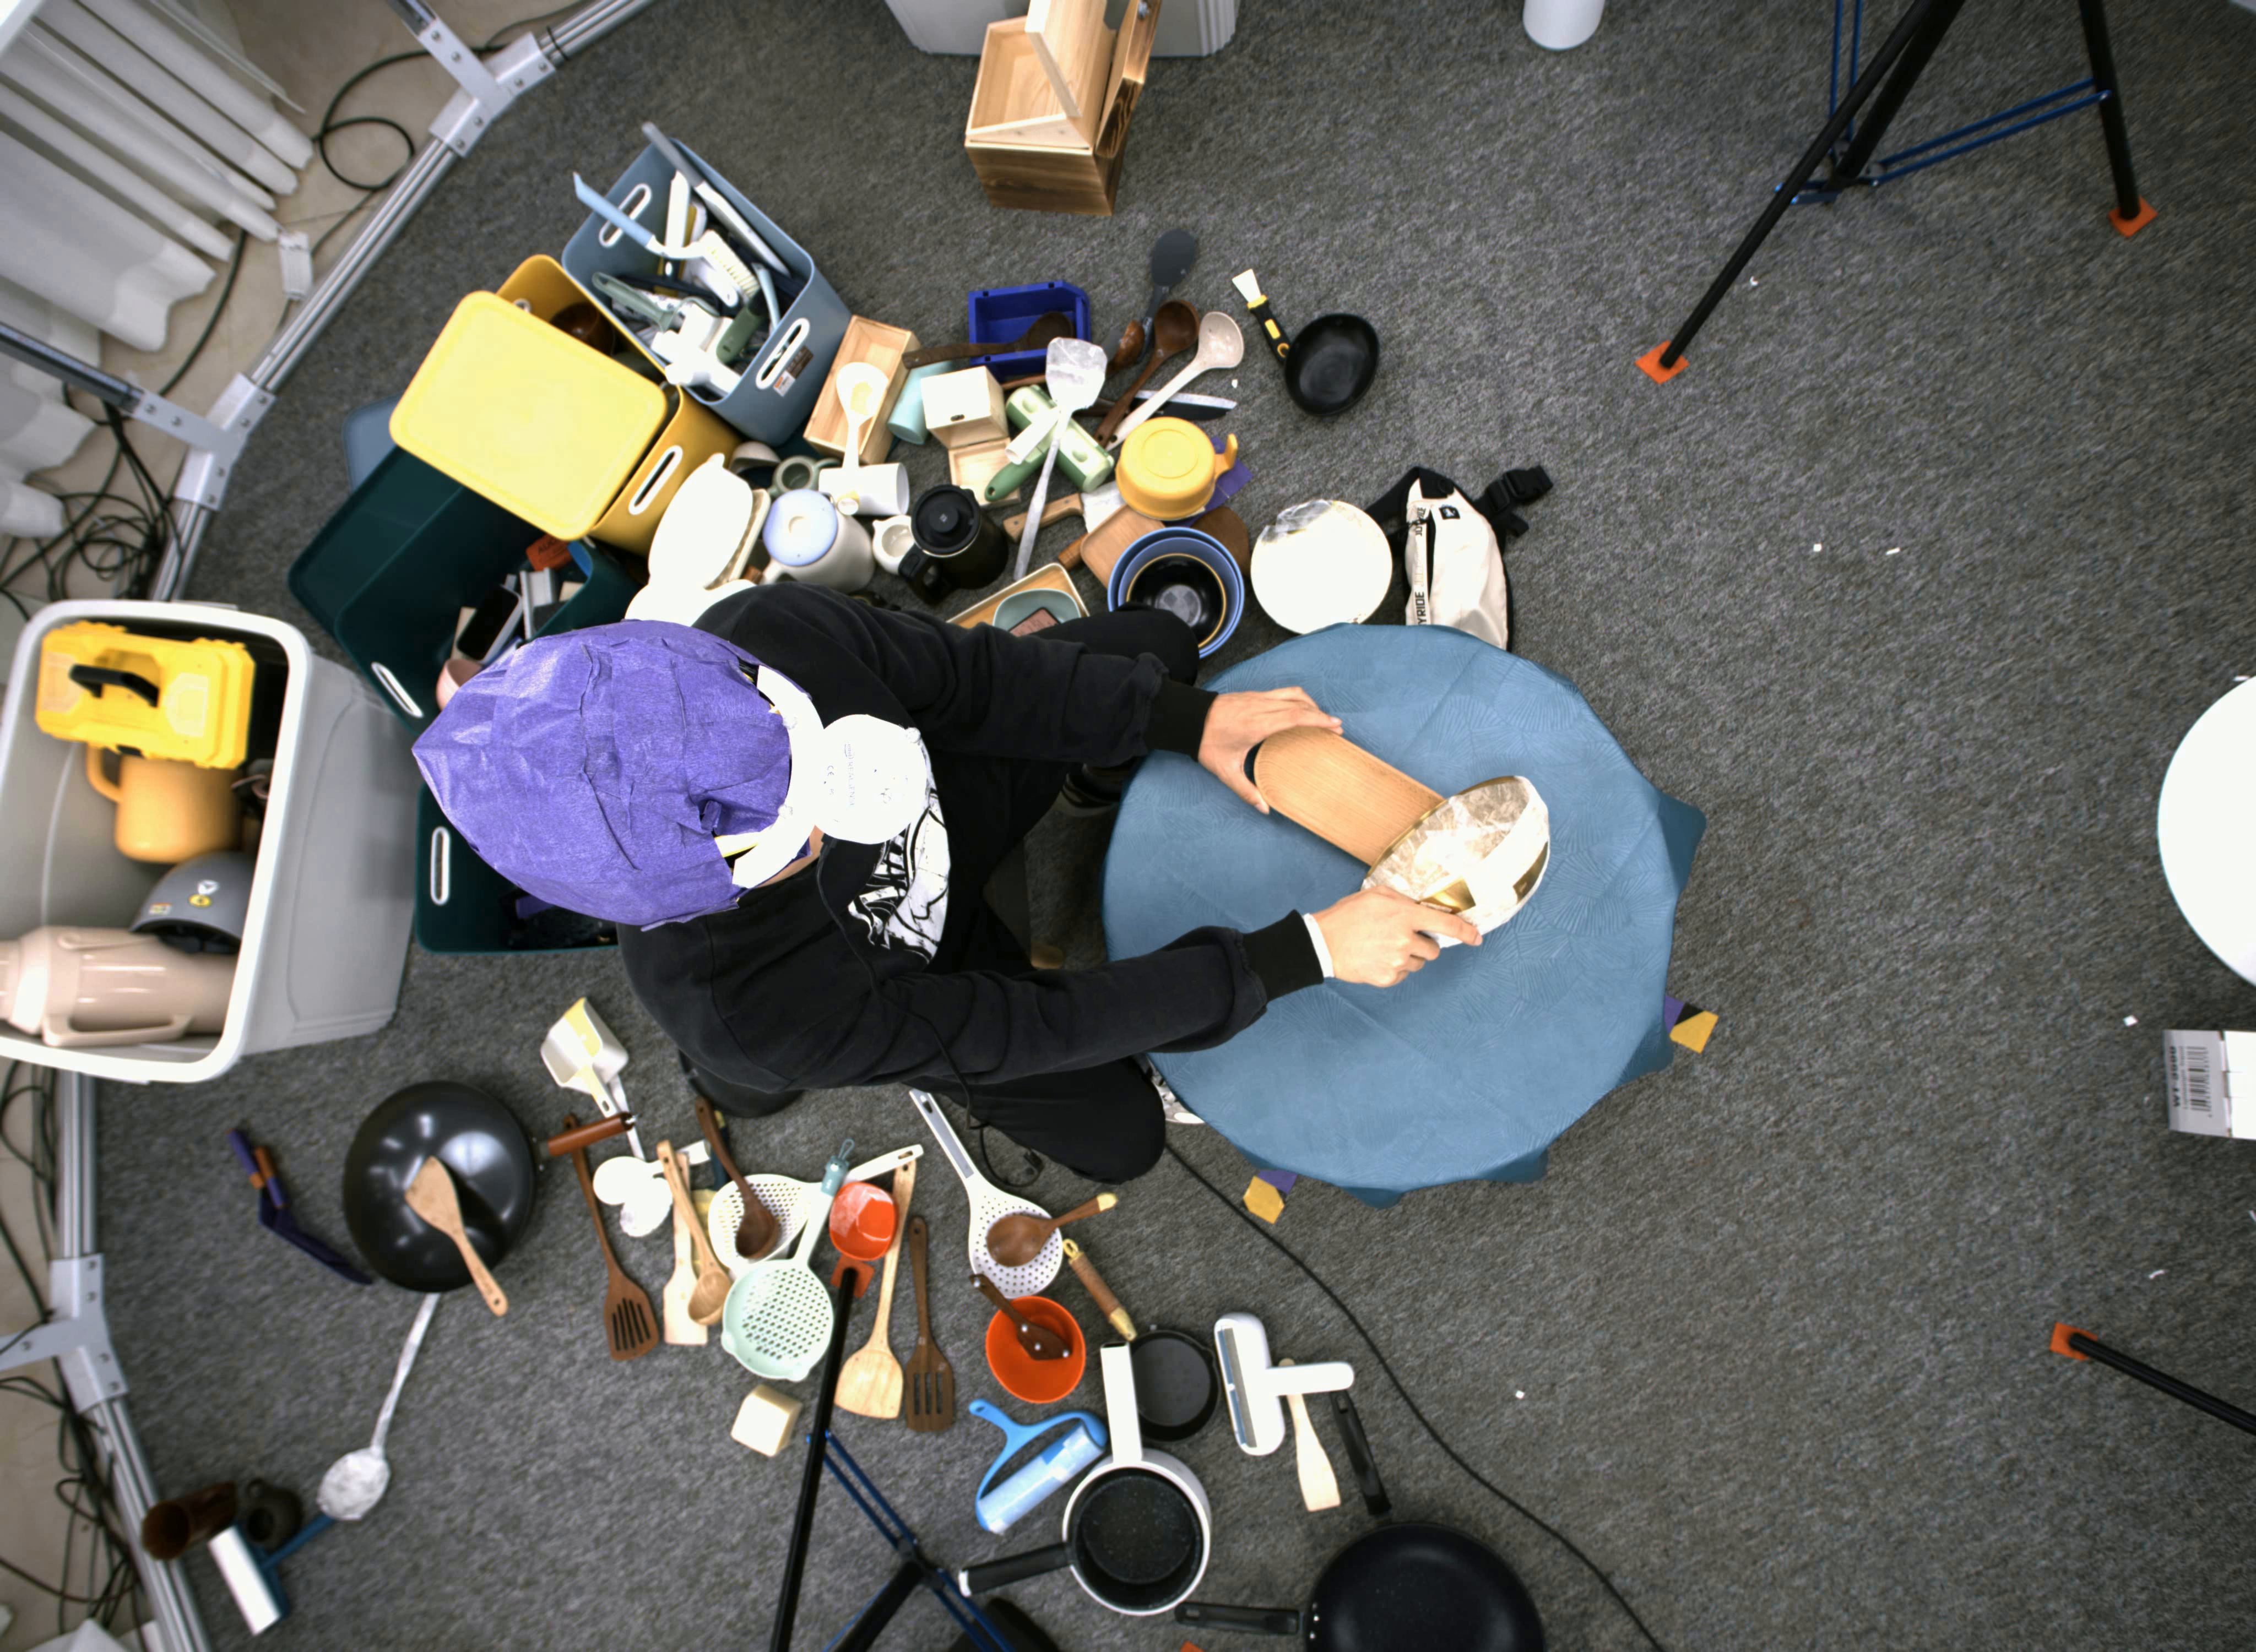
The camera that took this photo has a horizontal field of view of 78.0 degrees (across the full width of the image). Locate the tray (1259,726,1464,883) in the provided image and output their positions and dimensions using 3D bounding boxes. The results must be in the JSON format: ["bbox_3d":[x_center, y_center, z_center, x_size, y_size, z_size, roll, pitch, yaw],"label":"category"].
[{"bbox_3d":[0.245,-0.023,1.449,0.231,0.020,0.102,29,96,-1],"label":"tray"}]

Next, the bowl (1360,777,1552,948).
[{"bbox_3d":[0.335,0.050,1.353,0.215,0.212,0.095,-40,102,4],"label":"bowl"}]
